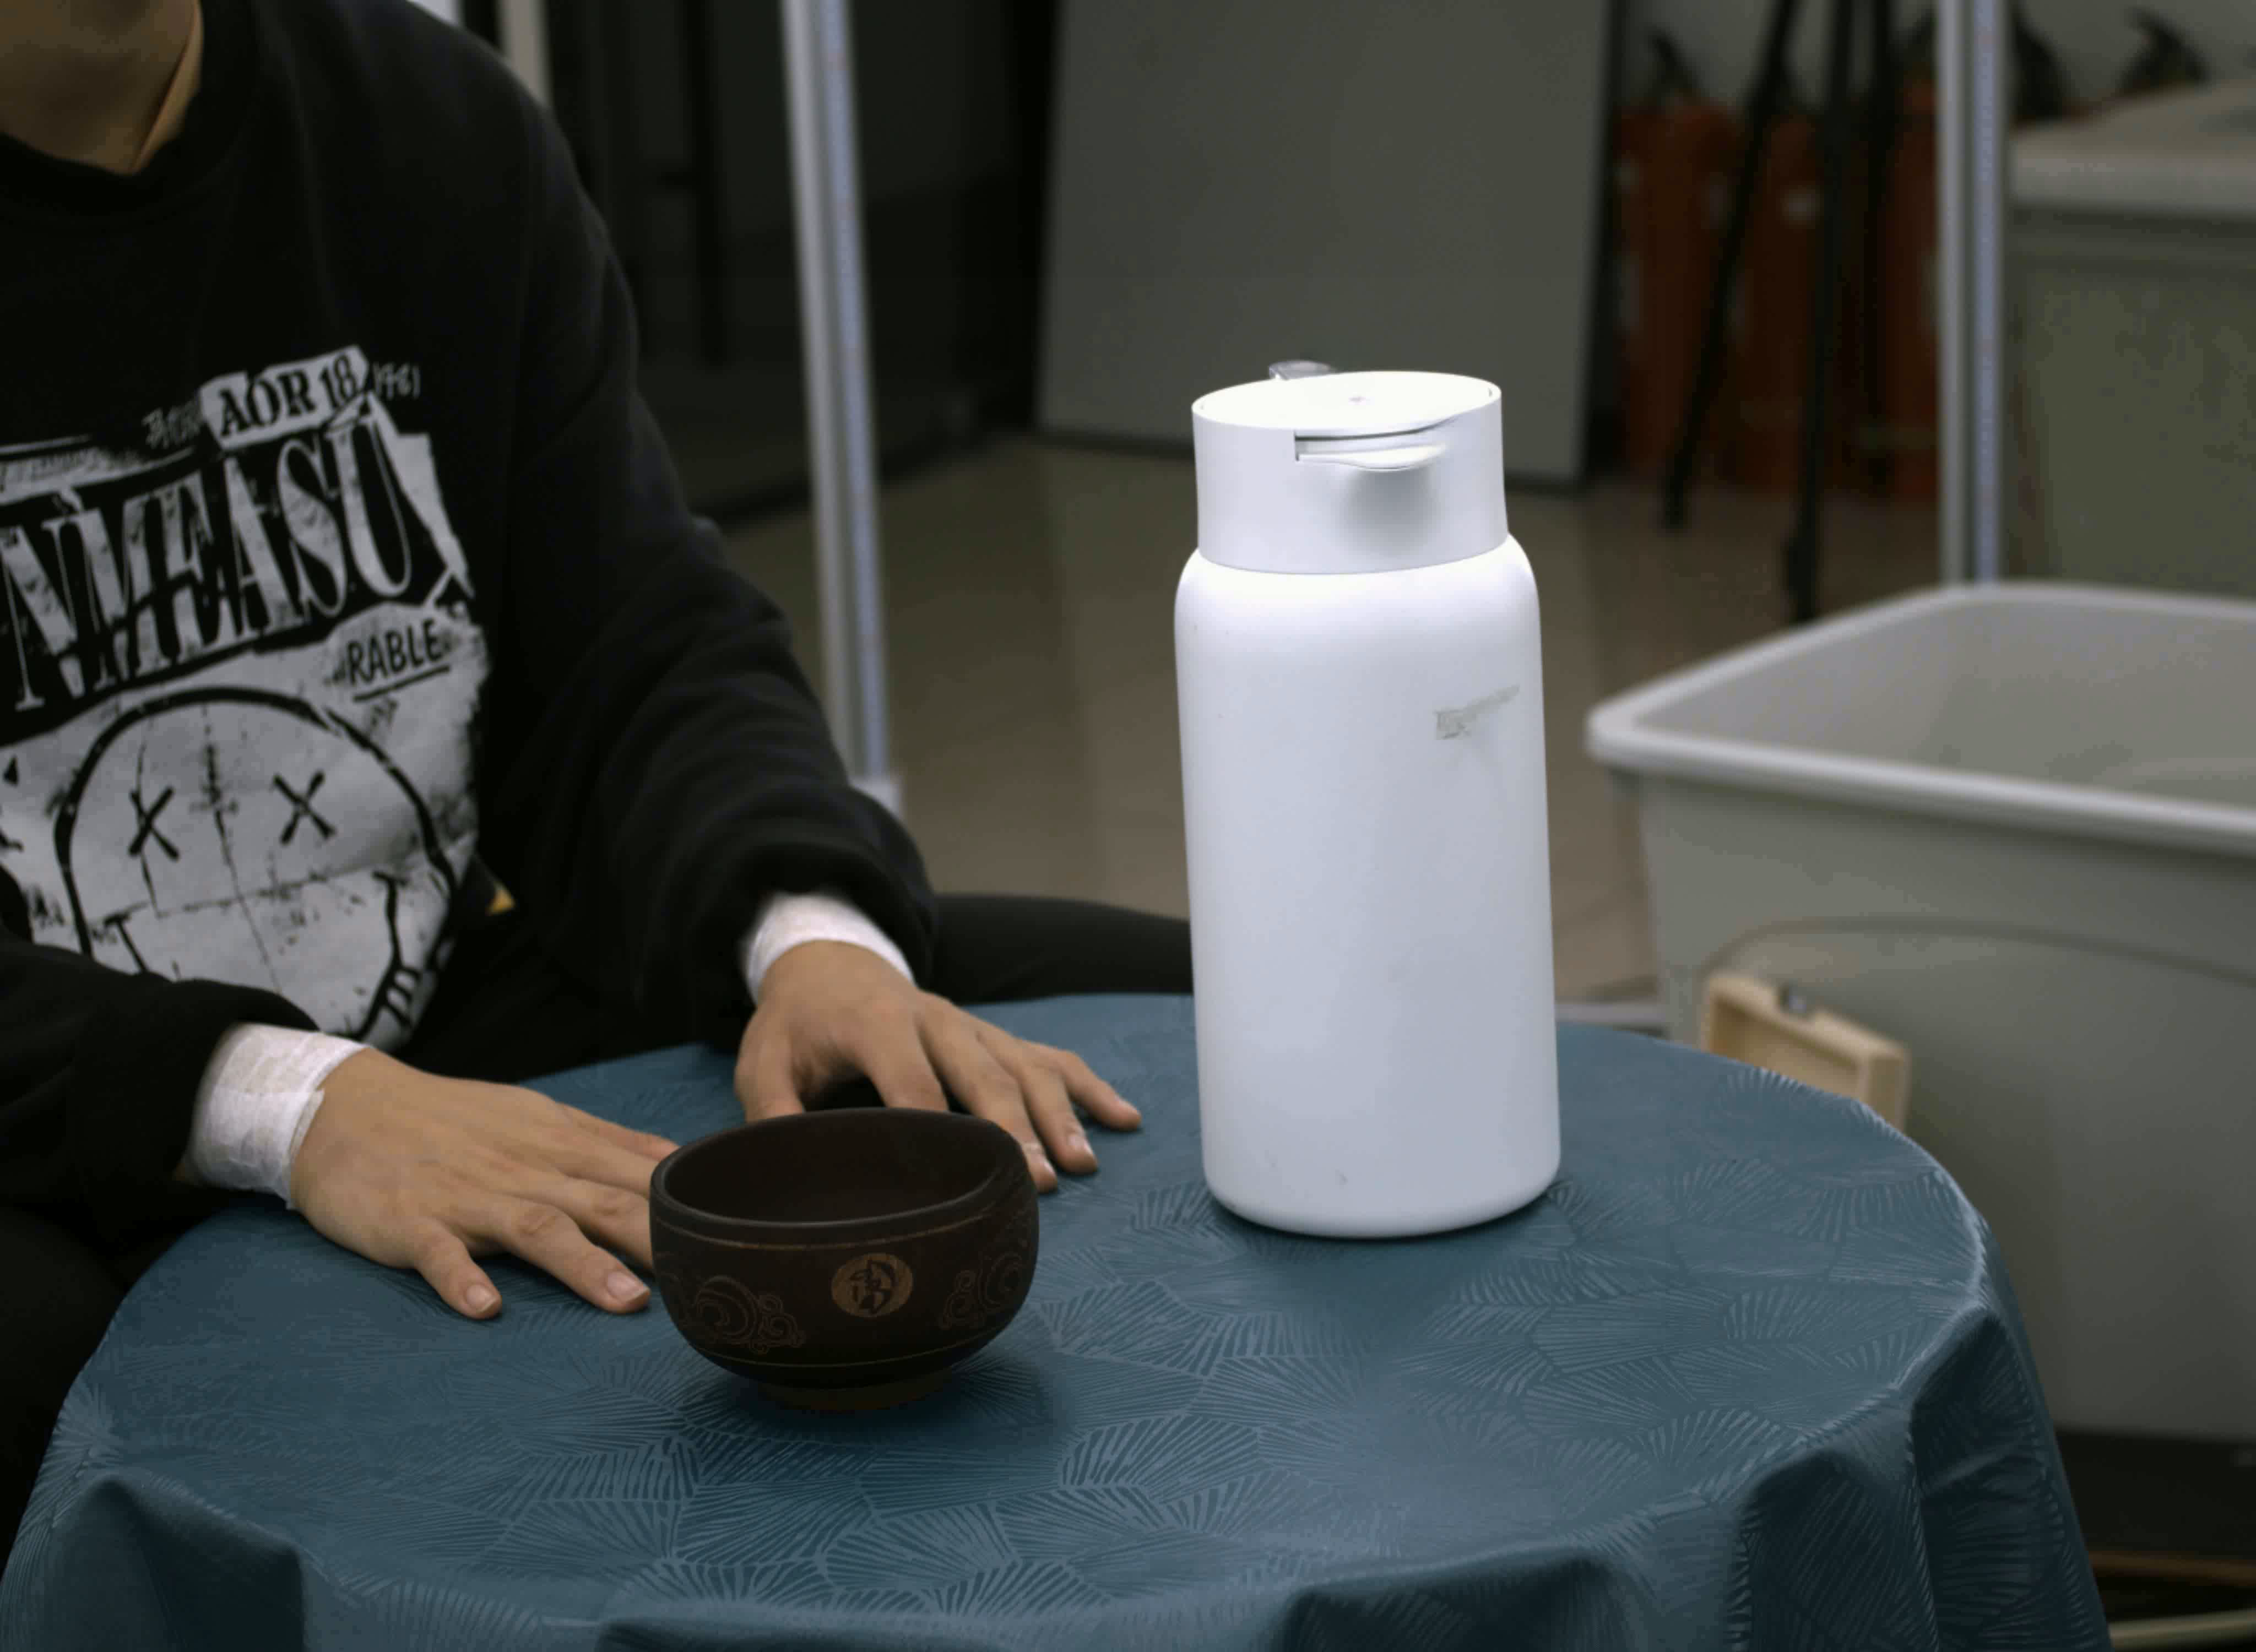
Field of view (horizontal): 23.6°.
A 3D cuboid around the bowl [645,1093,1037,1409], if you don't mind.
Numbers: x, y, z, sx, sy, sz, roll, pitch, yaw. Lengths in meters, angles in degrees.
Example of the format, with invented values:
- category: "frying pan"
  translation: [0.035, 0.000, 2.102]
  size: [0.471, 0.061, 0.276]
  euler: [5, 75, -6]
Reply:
- category: "bowl"
  translation: [-0.084, 0.131, 1.607]
  size: [0.116, 0.070, 0.118]
  euler: [-3, 15, 0]

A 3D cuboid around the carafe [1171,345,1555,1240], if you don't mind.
- category: "carafe"
  translation: [0.069, -0.014, 1.741]
  size: [0.121, 0.272, 0.174]
  euler: [-8, 14, -11]
